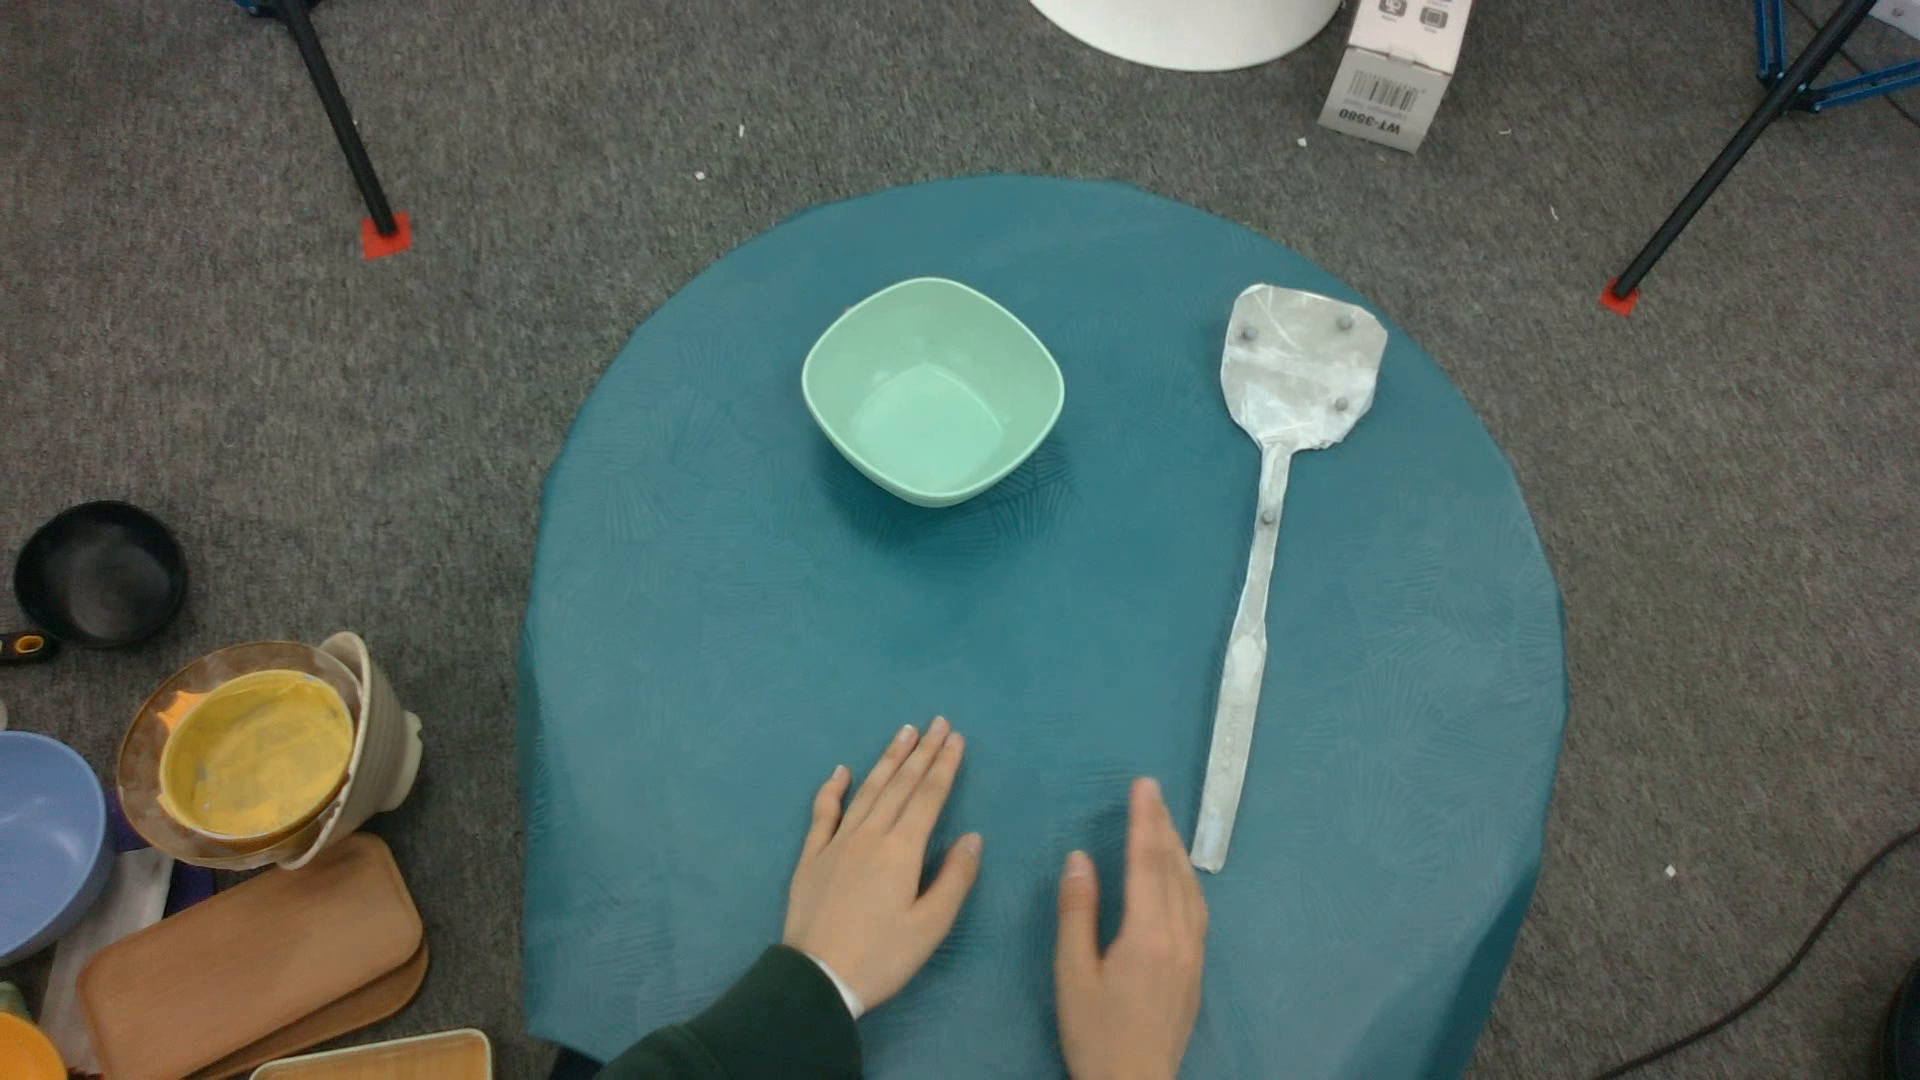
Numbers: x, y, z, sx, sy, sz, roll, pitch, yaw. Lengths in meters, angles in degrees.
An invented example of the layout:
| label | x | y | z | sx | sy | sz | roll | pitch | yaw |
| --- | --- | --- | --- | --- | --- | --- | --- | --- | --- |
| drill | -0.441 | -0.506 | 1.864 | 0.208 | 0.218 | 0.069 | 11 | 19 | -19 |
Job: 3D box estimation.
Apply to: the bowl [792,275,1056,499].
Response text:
| label | x | y | z | sx | sy | sz | roll | pitch | yaw |
| --- | --- | --- | --- | --- | --- | --- | --- | --- | --- |
| bowl | -0.022 | -0.080 | 0.809 | 0.151 | 0.058 | 0.152 | 3 | 59 | -5 |

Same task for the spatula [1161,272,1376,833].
| label | x | y | z | sx | sy | sz | roll | pitch | yaw |
| --- | --- | --- | --- | --- | --- | --- | --- | --- | --- |
| spatula | 0.169 | -0.002 | 0.801 | 0.099 | 0.044 | 0.366 | 18 | 61 | 0 |
